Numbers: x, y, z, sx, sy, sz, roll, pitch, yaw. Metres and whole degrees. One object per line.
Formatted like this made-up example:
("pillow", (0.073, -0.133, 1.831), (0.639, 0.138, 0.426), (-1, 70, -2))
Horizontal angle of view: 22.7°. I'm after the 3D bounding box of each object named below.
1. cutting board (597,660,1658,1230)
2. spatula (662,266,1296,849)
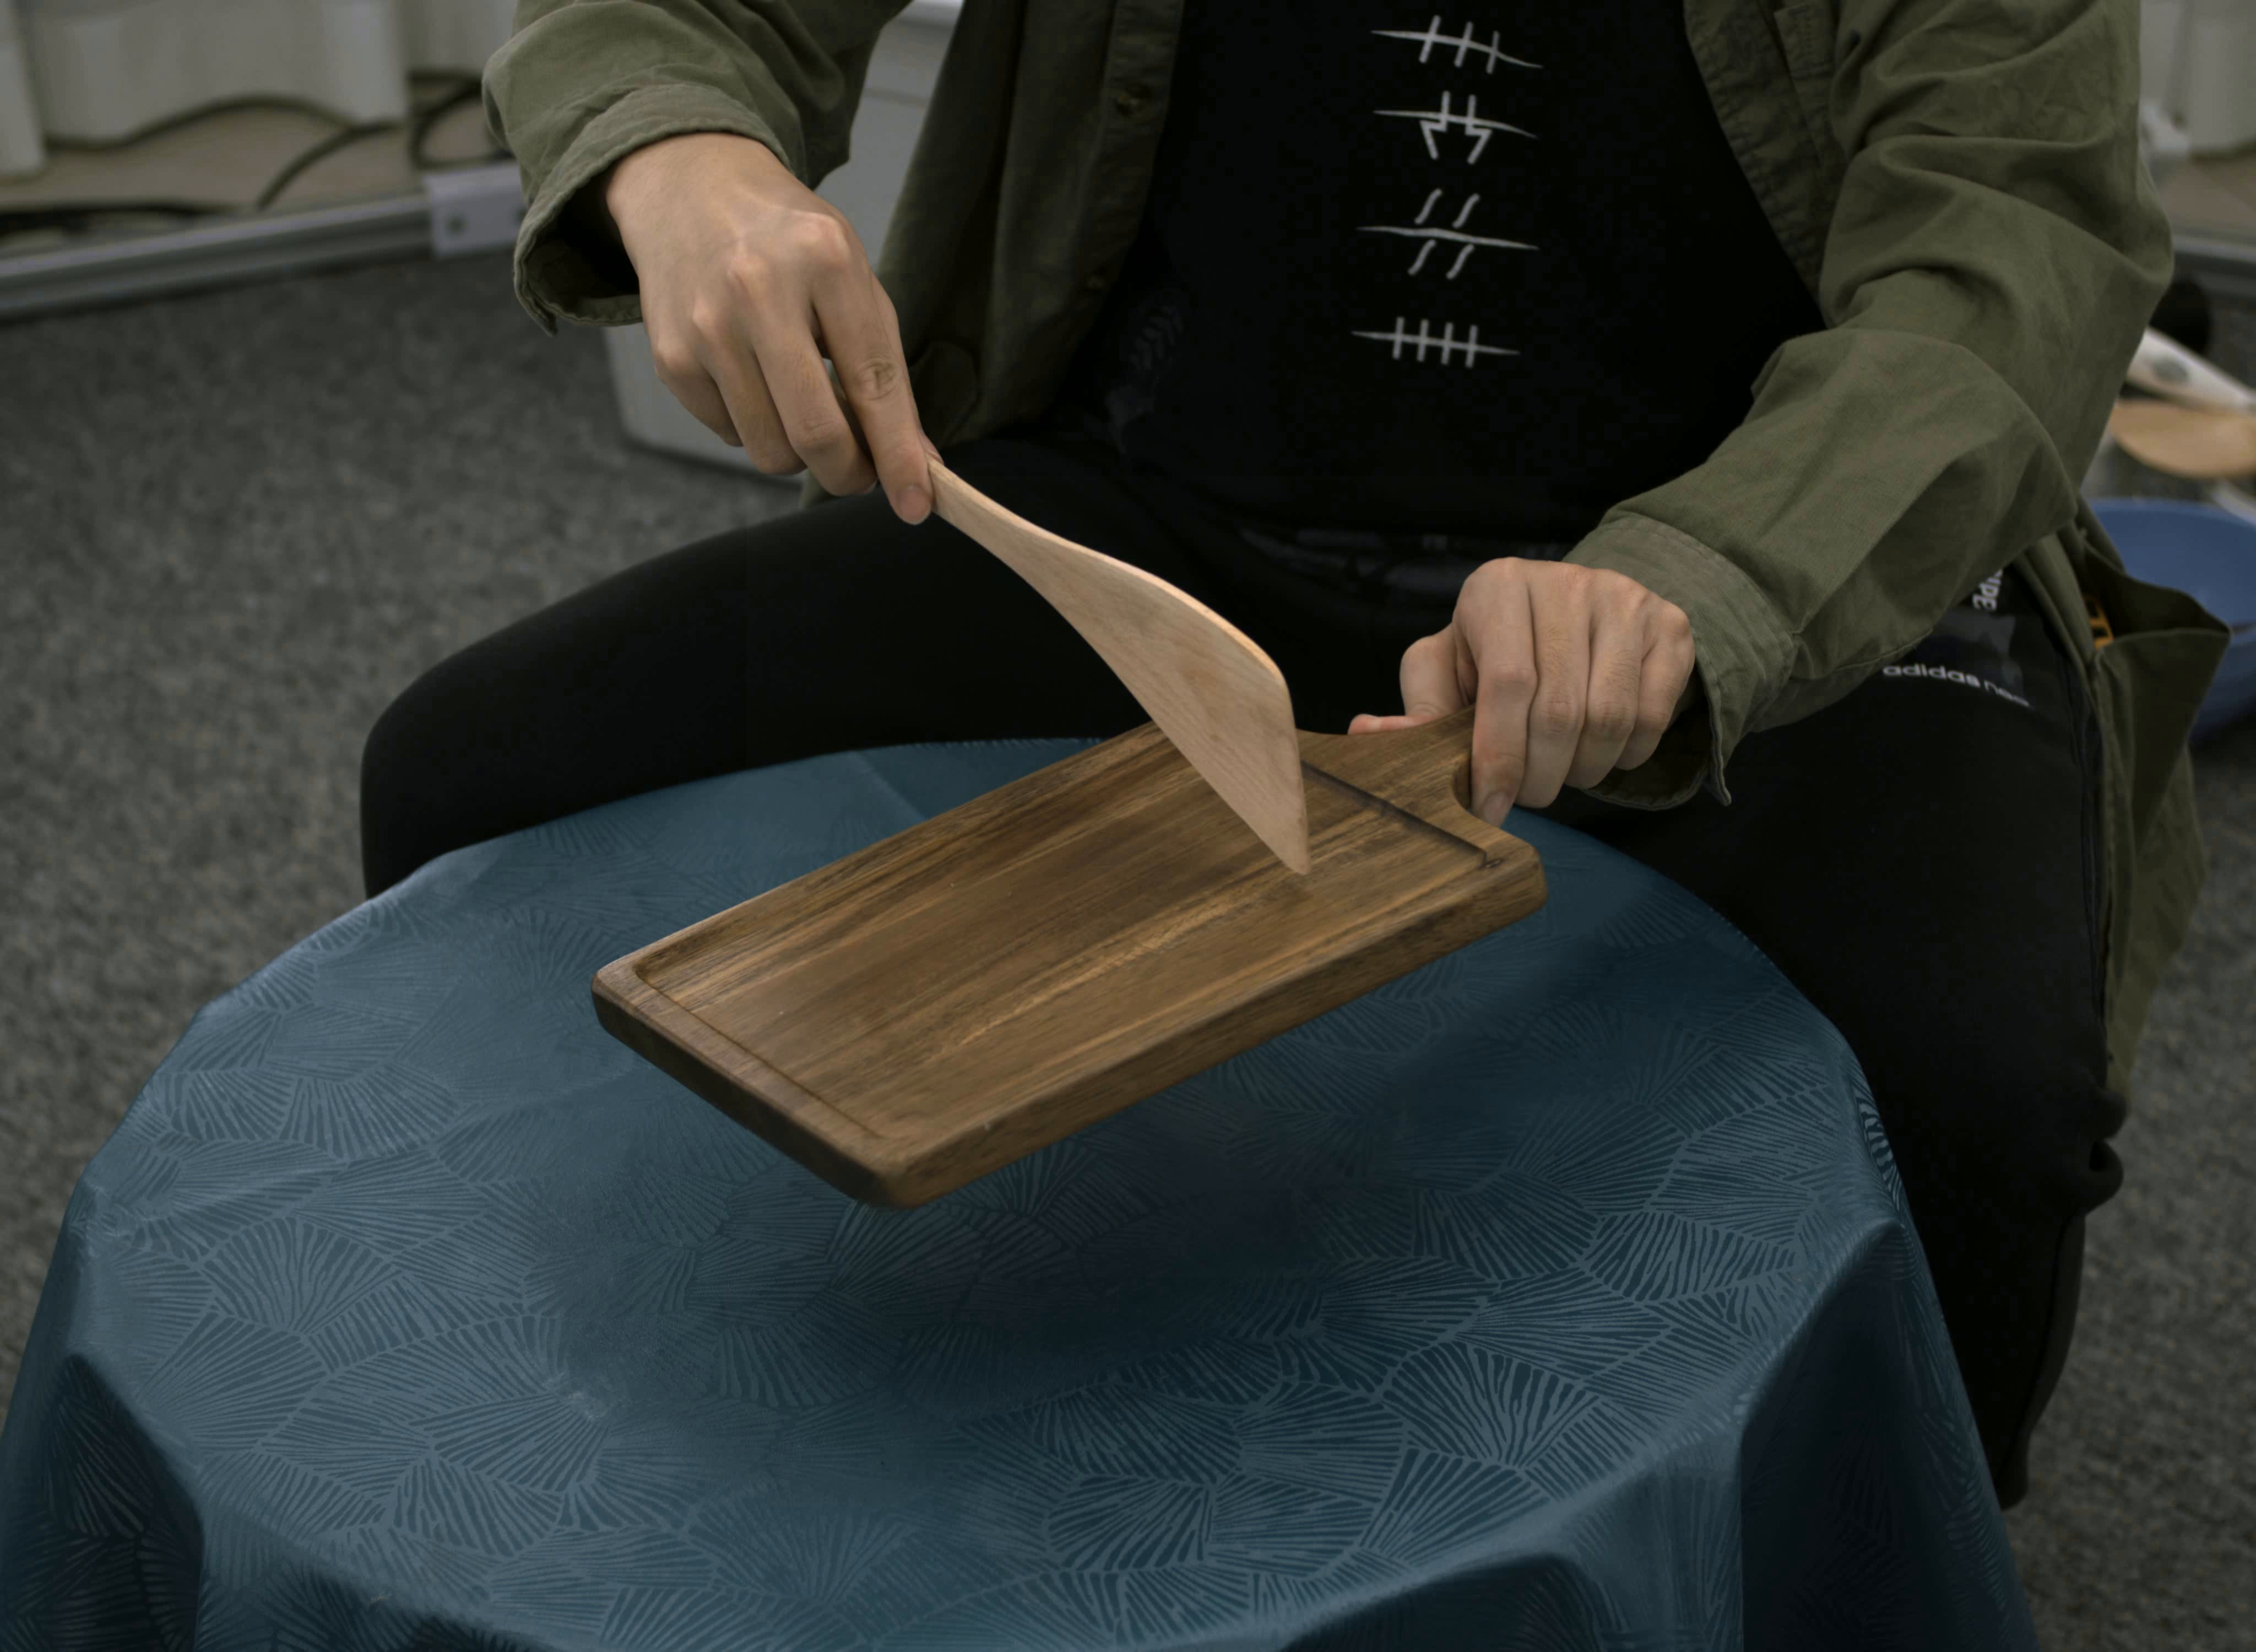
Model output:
("cutting board", (0.024, 0.021, 1.786), (0.355, 0.023, 0.201), (-24, 27, -24))
("spatula", (-0.052, -0.102, 1.833), (0.017, 0.079, 0.329), (-32, 50, -28))
